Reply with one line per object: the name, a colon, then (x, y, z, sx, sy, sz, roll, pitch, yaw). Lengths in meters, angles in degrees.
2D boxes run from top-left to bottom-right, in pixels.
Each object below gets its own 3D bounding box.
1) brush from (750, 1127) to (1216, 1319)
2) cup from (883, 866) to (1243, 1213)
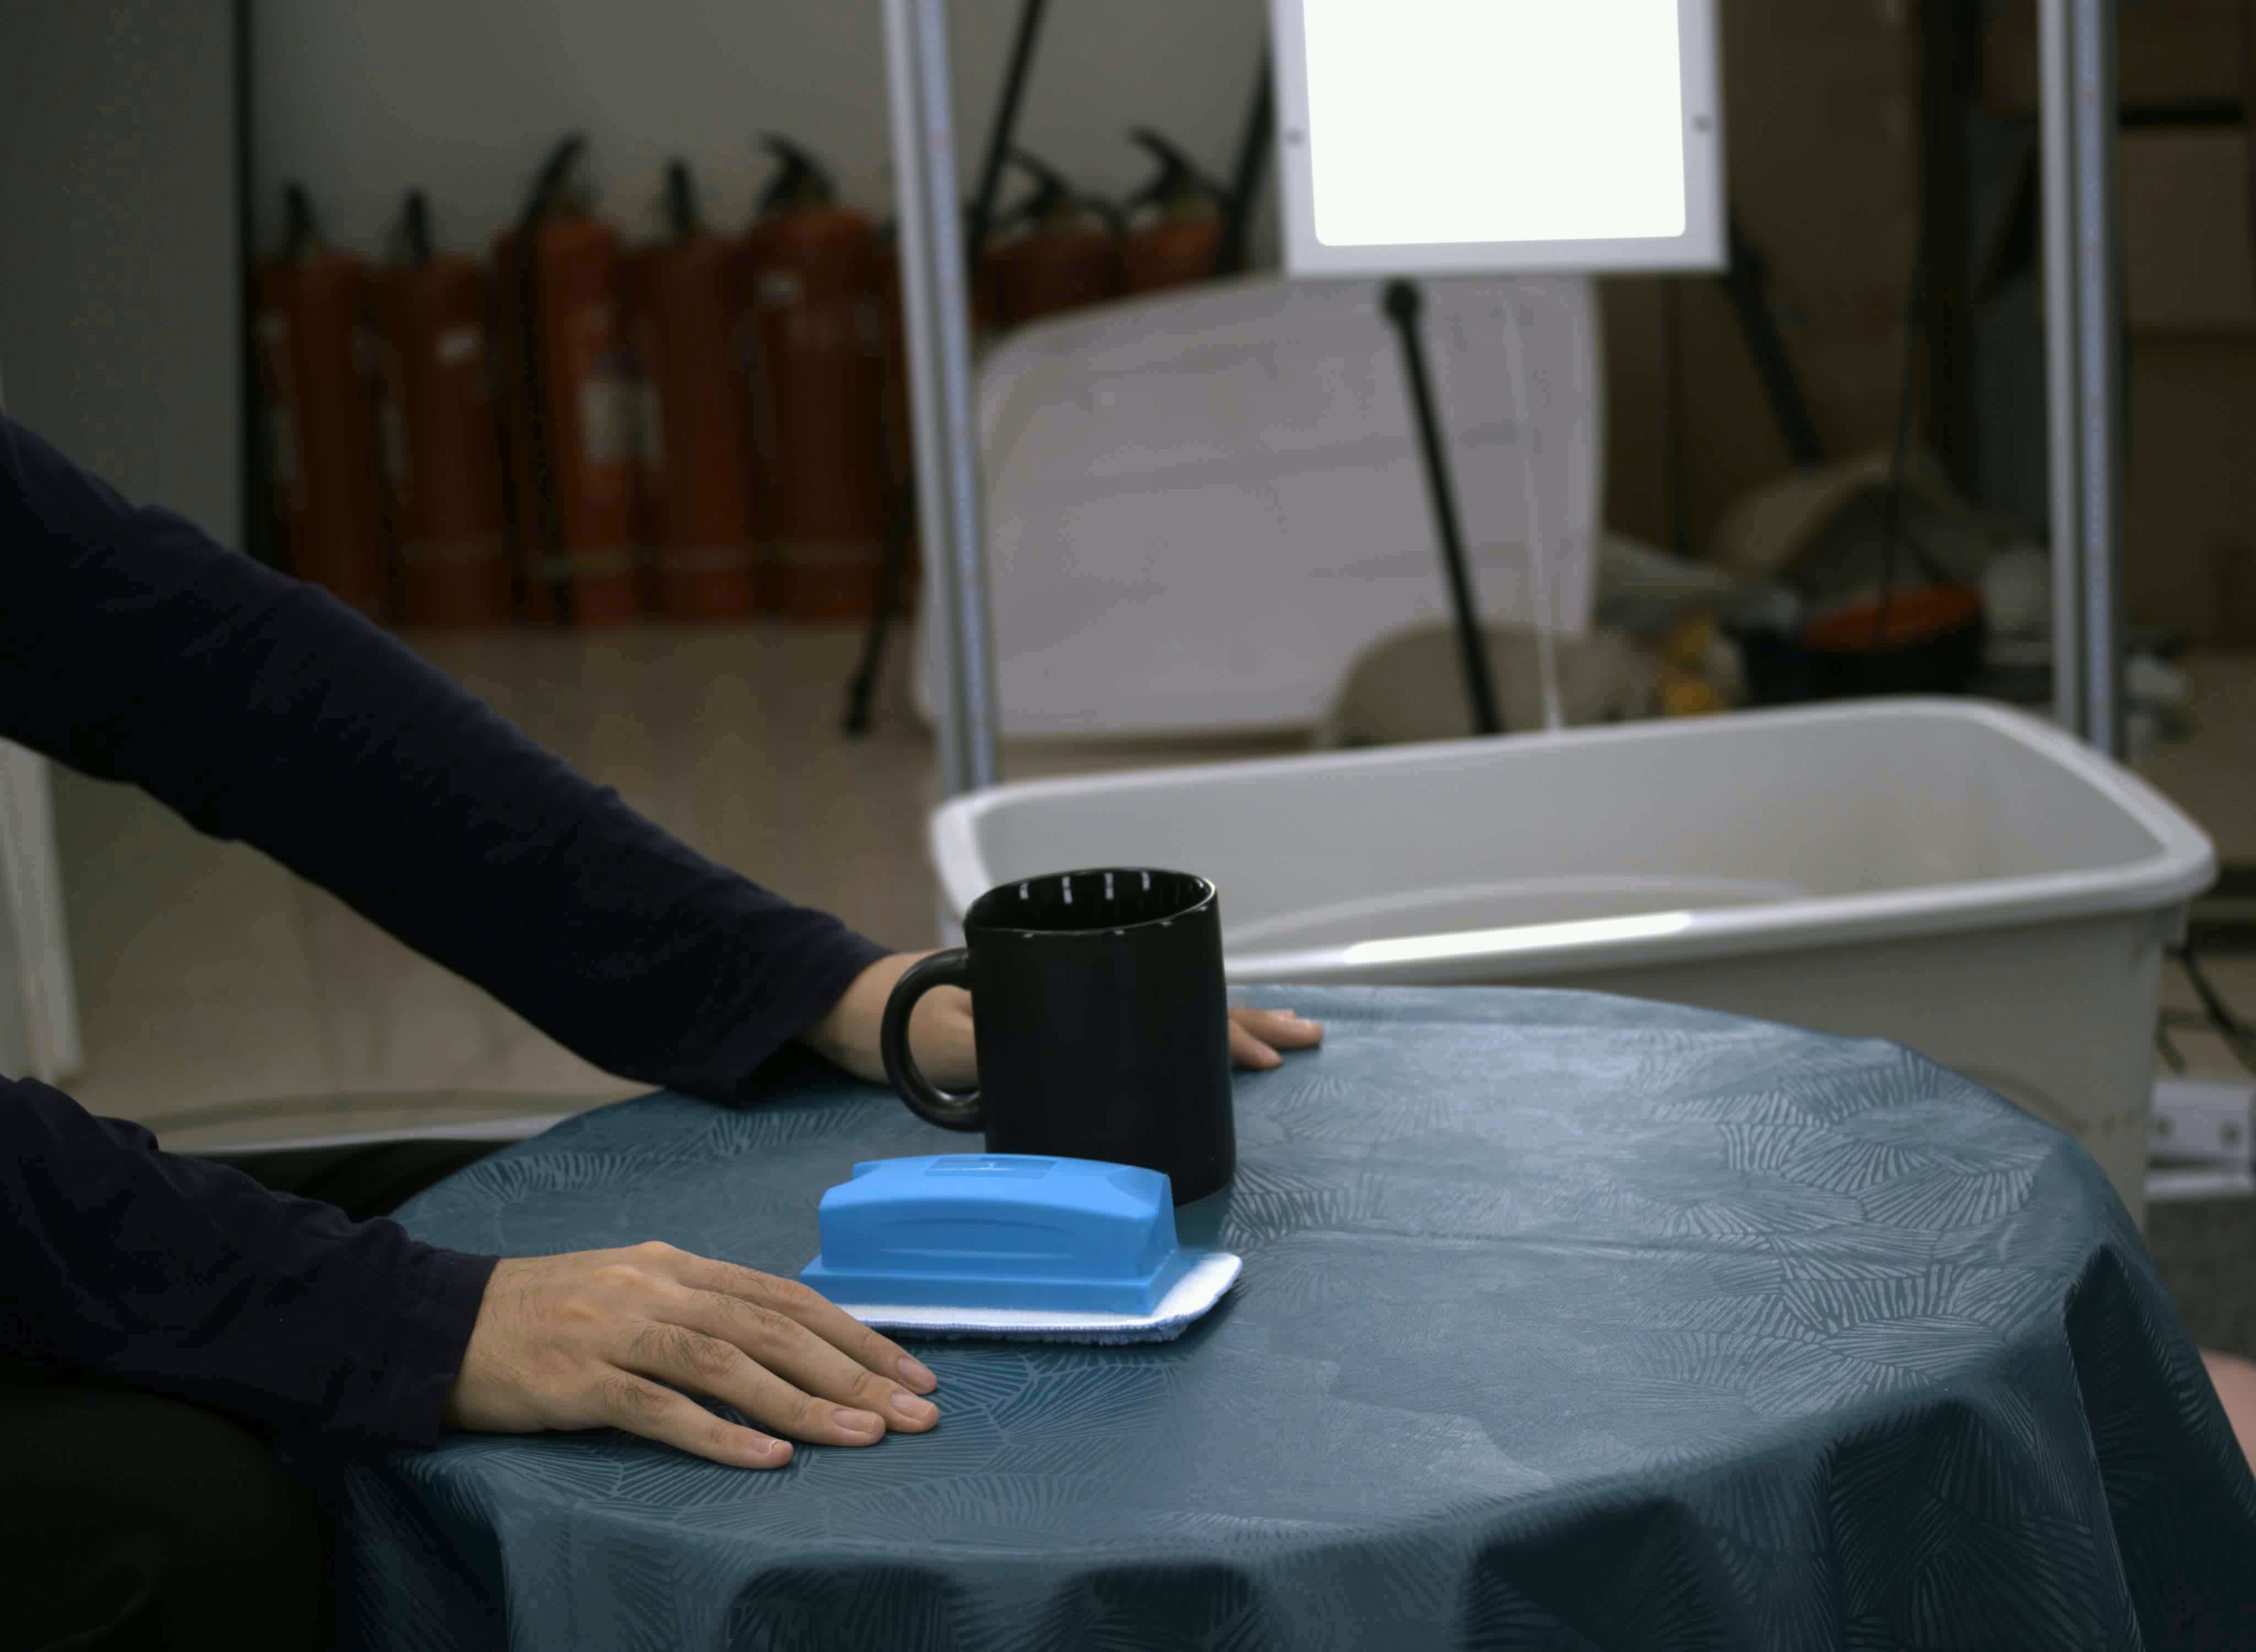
brush: (-0.047, 0.128, 1.781, 0.146, 0.056, 0.082, 3, 13, 21)
cup: (-0.025, 0.076, 1.904, 0.125, 0.105, 0.087, -4, 15, 16)
